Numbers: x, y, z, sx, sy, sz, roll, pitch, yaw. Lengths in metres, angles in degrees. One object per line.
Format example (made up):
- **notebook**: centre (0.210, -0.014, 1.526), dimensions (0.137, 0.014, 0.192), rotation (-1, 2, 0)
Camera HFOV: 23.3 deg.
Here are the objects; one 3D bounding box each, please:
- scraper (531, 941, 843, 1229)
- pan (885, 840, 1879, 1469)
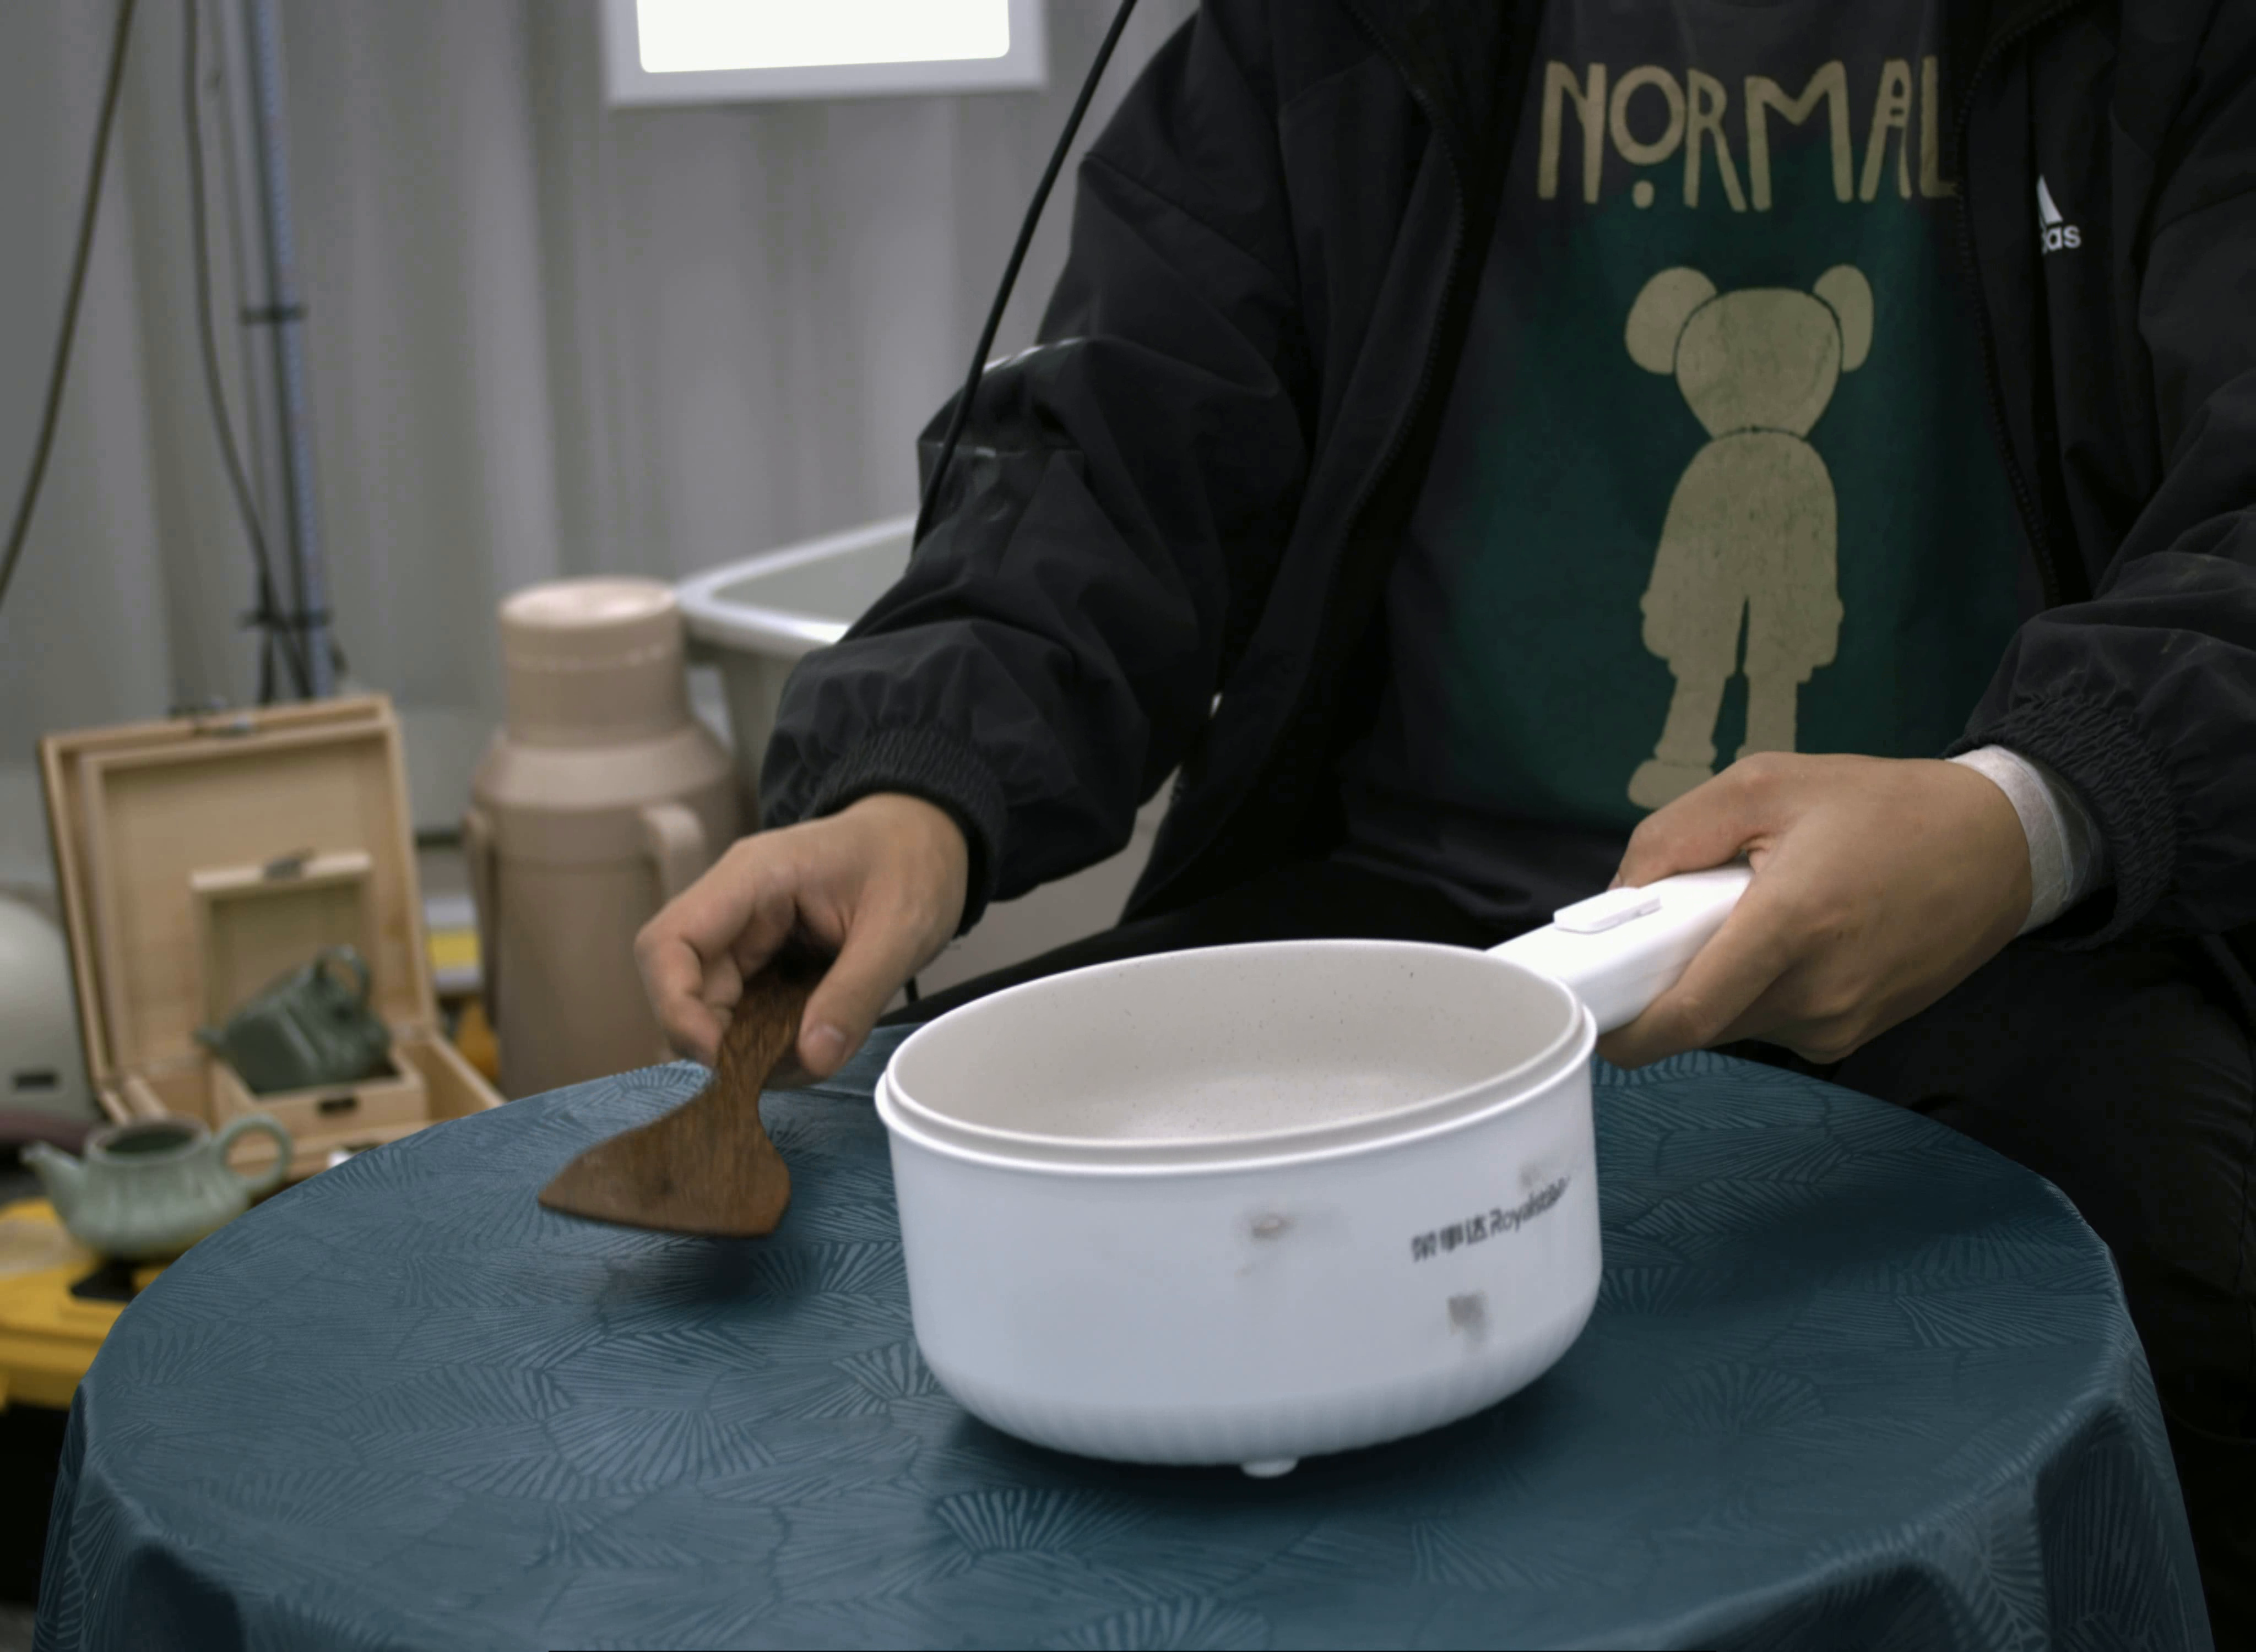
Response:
- **scraper**: centre (-0.126, 0.079, 1.721), dimensions (0.076, 0.011, 0.213), rotation (9, 23, 8)
- **pan**: centre (0.091, 0.089, 1.574), dimensions (0.354, 0.102, 0.202), rotation (-17, 16, -42)
